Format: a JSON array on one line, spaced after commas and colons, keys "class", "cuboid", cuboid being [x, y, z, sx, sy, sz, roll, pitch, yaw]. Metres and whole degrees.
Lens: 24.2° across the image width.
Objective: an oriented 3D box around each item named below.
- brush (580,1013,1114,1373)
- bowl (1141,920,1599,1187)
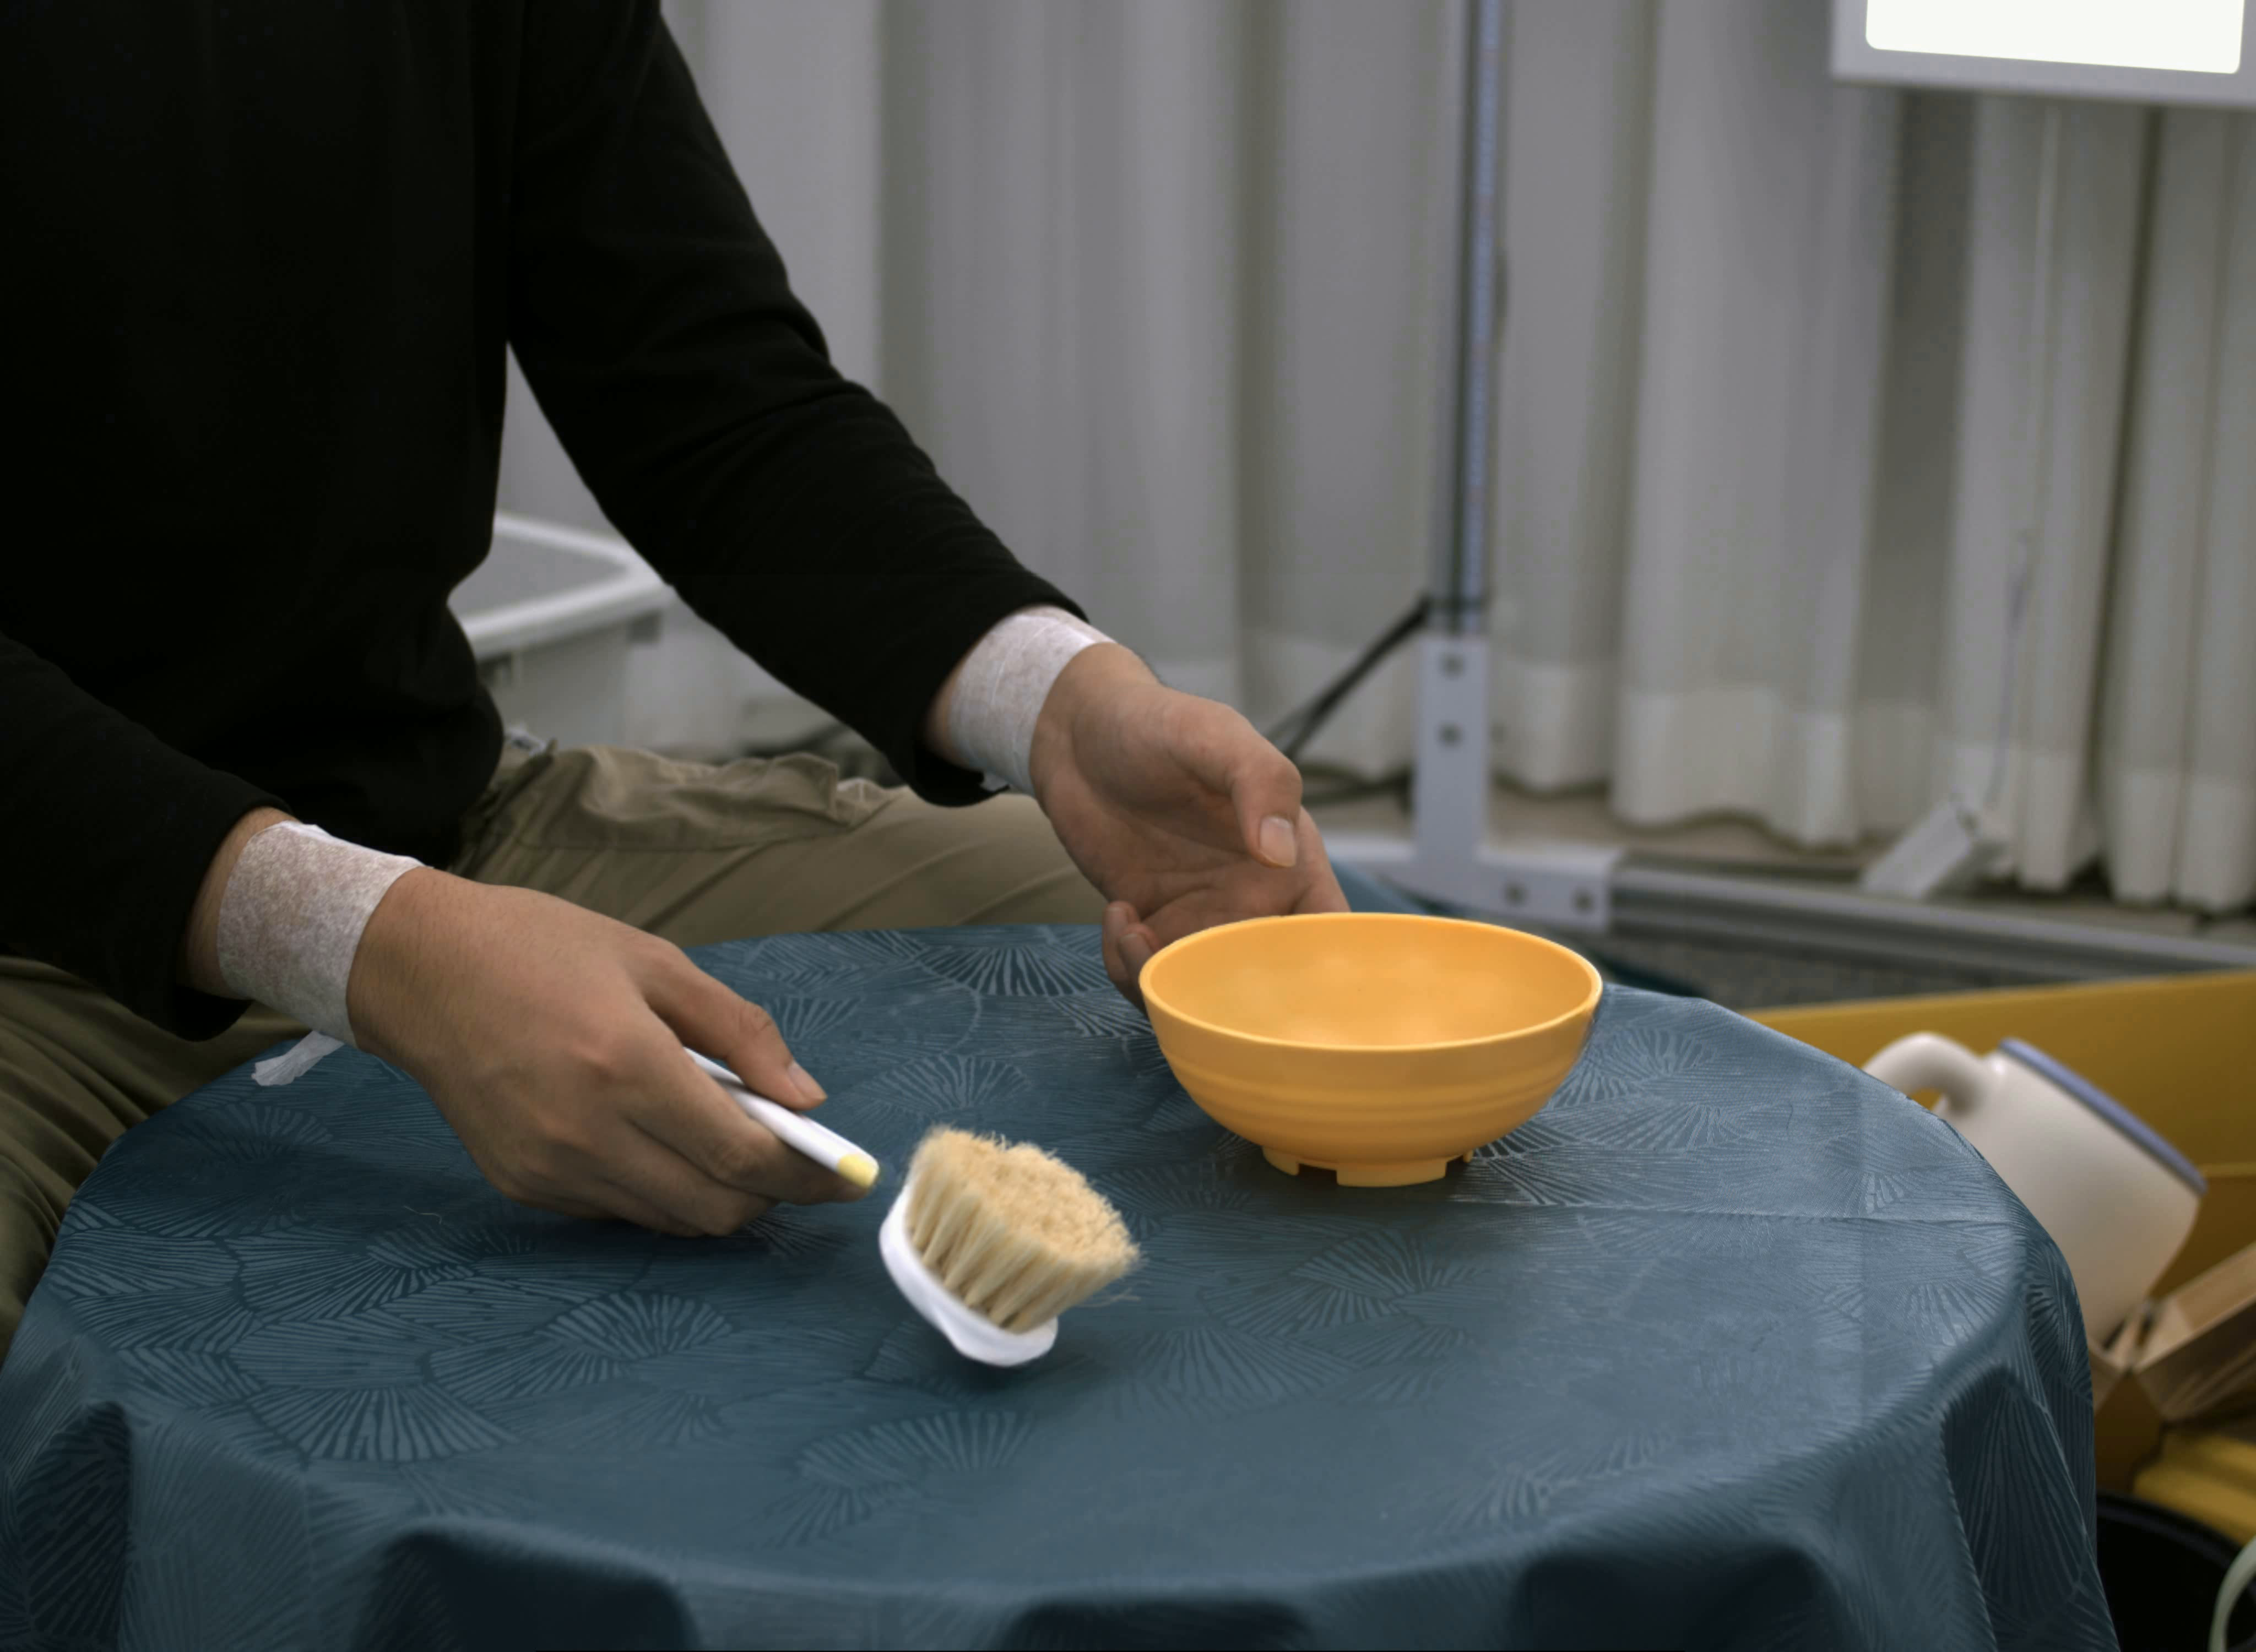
[{"class": "brush", "cuboid": [-0.090, 0.084, 1.550, 0.069, 0.056, 0.263, 29, 2, -36]}, {"class": "bowl", "cuboid": [0.074, 0.075, 1.648, 0.145, 0.060, 0.144, 1, 14, 0]}]
